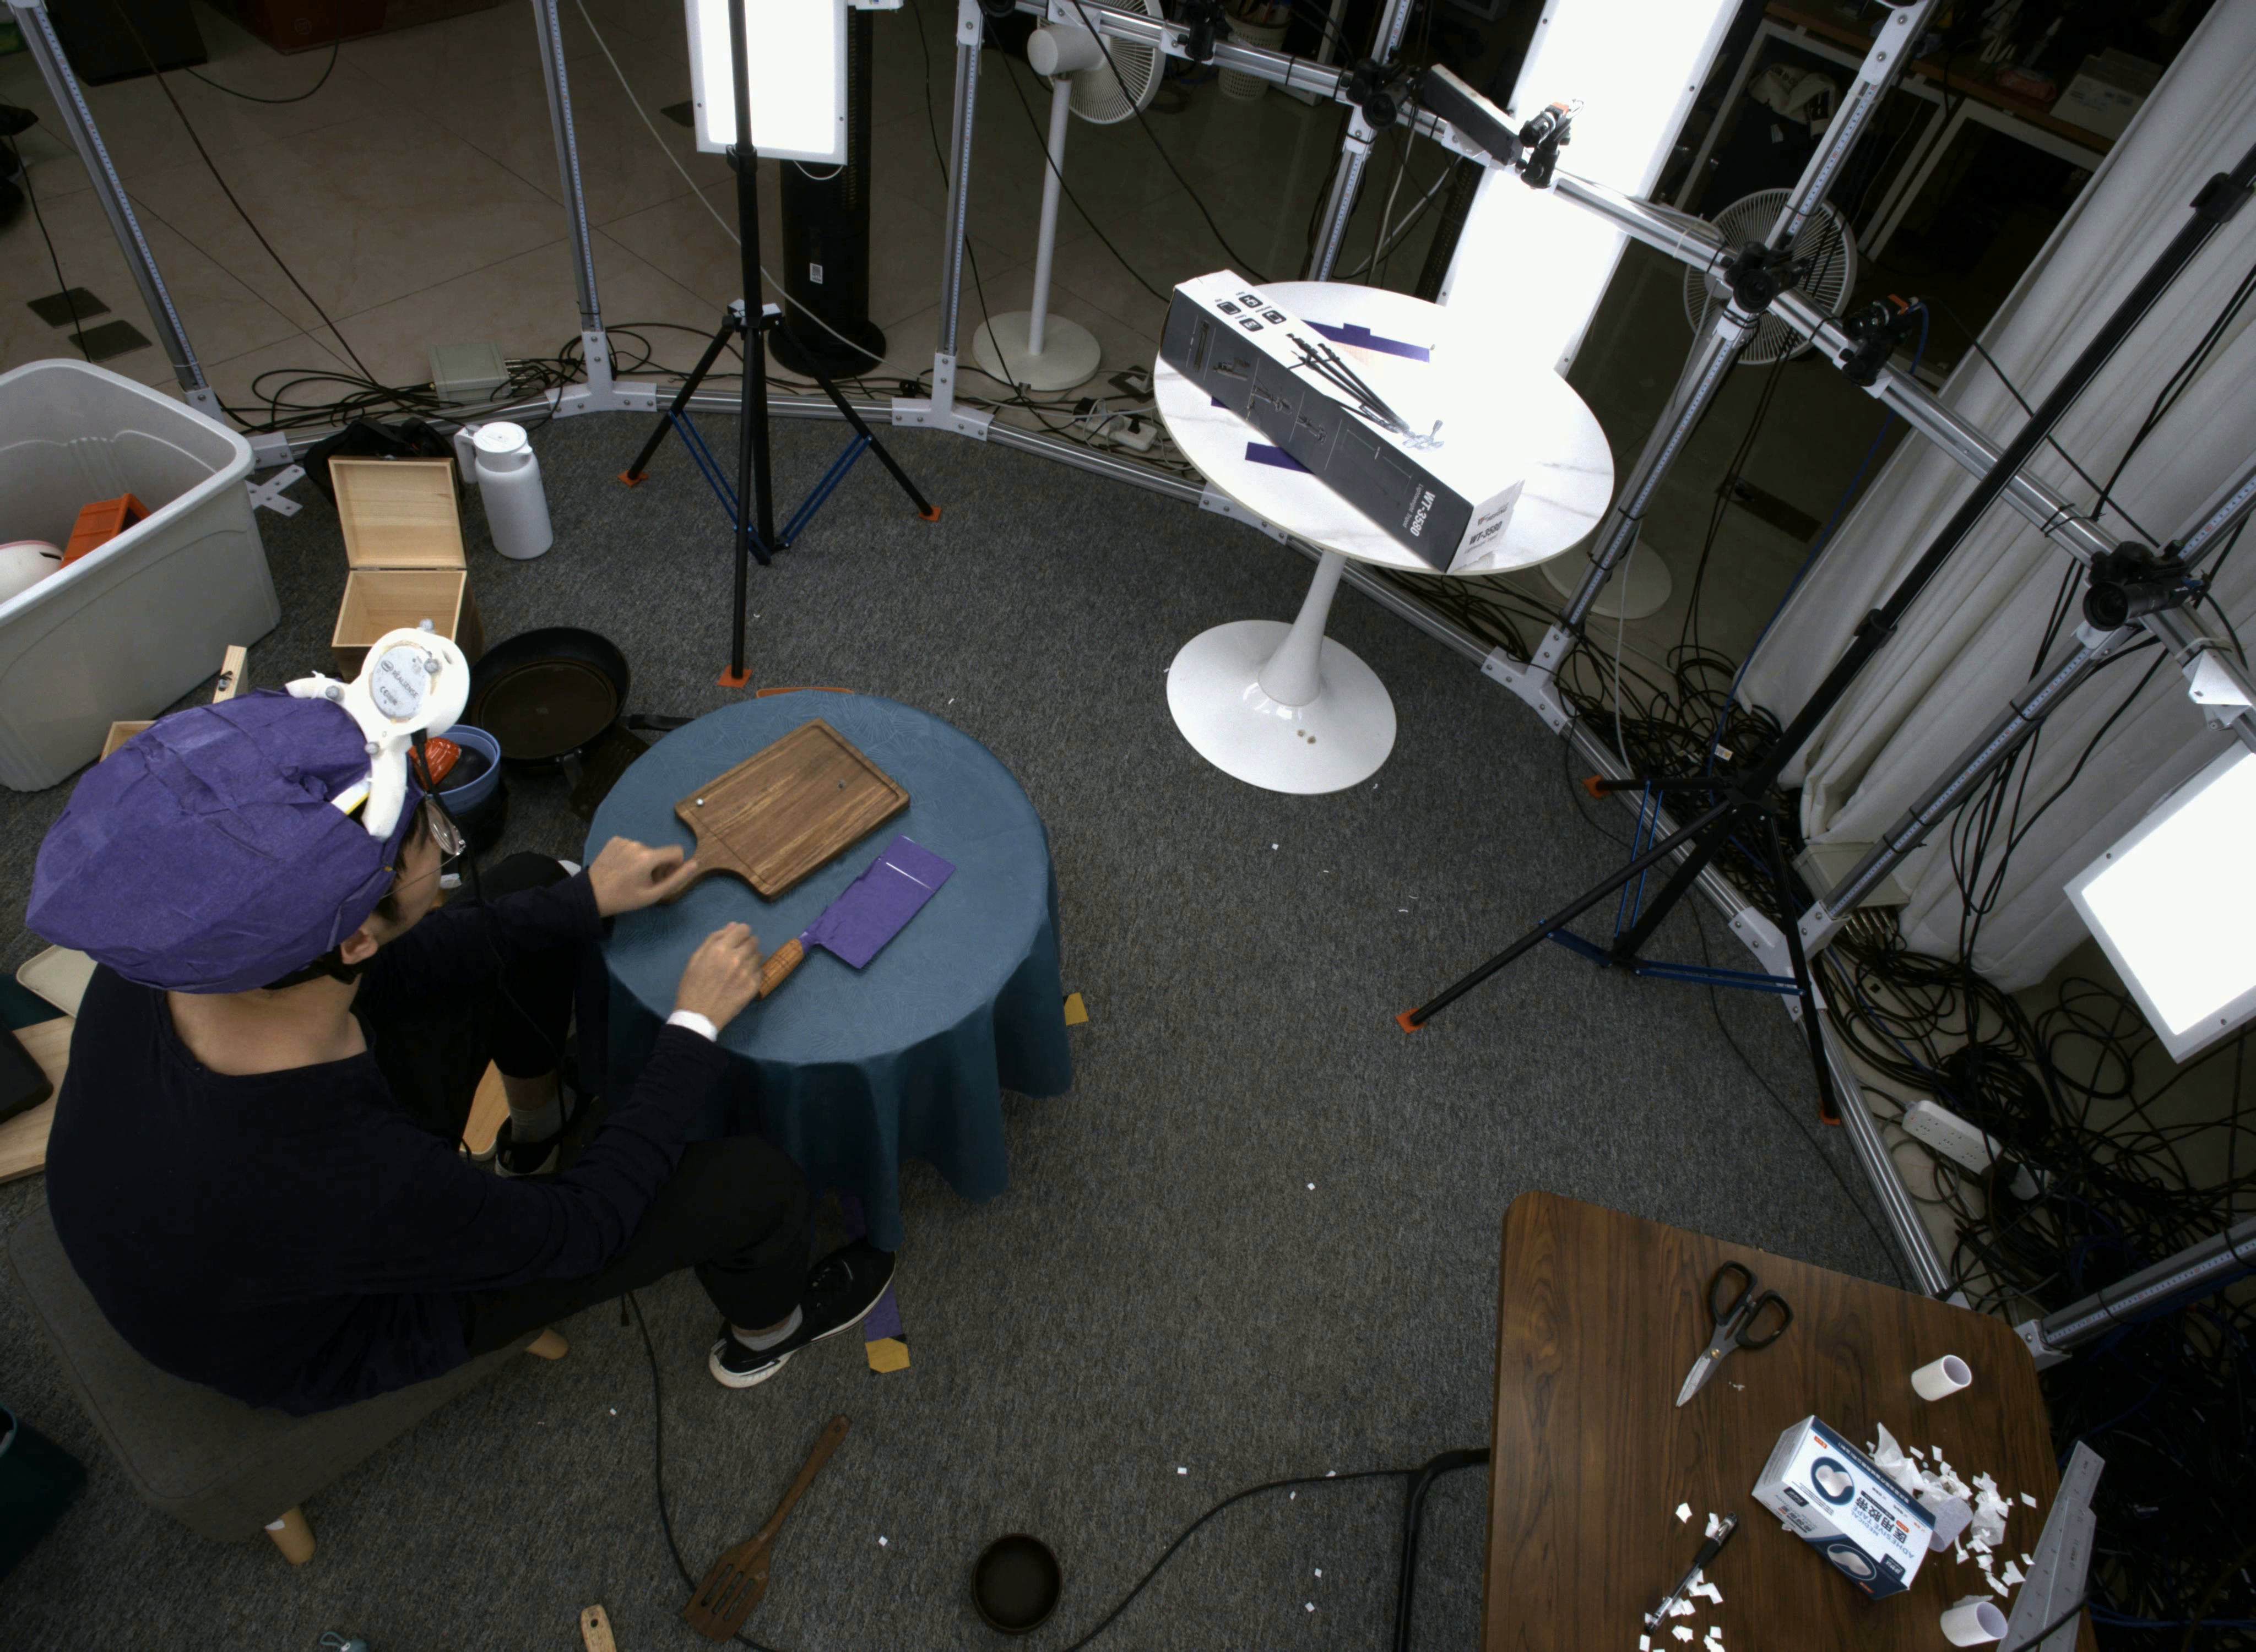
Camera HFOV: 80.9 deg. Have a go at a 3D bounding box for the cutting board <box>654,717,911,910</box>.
[{"bbox_3d":[-0.478,-0.002,1.710,0.197,0.023,0.352,40,55,16],"label":"cutting board"}]

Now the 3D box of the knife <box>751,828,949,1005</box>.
[{"bbox_3d":[-0.343,0.119,1.650,0.102,0.033,0.314,30,52,10],"label":"knife"}]
